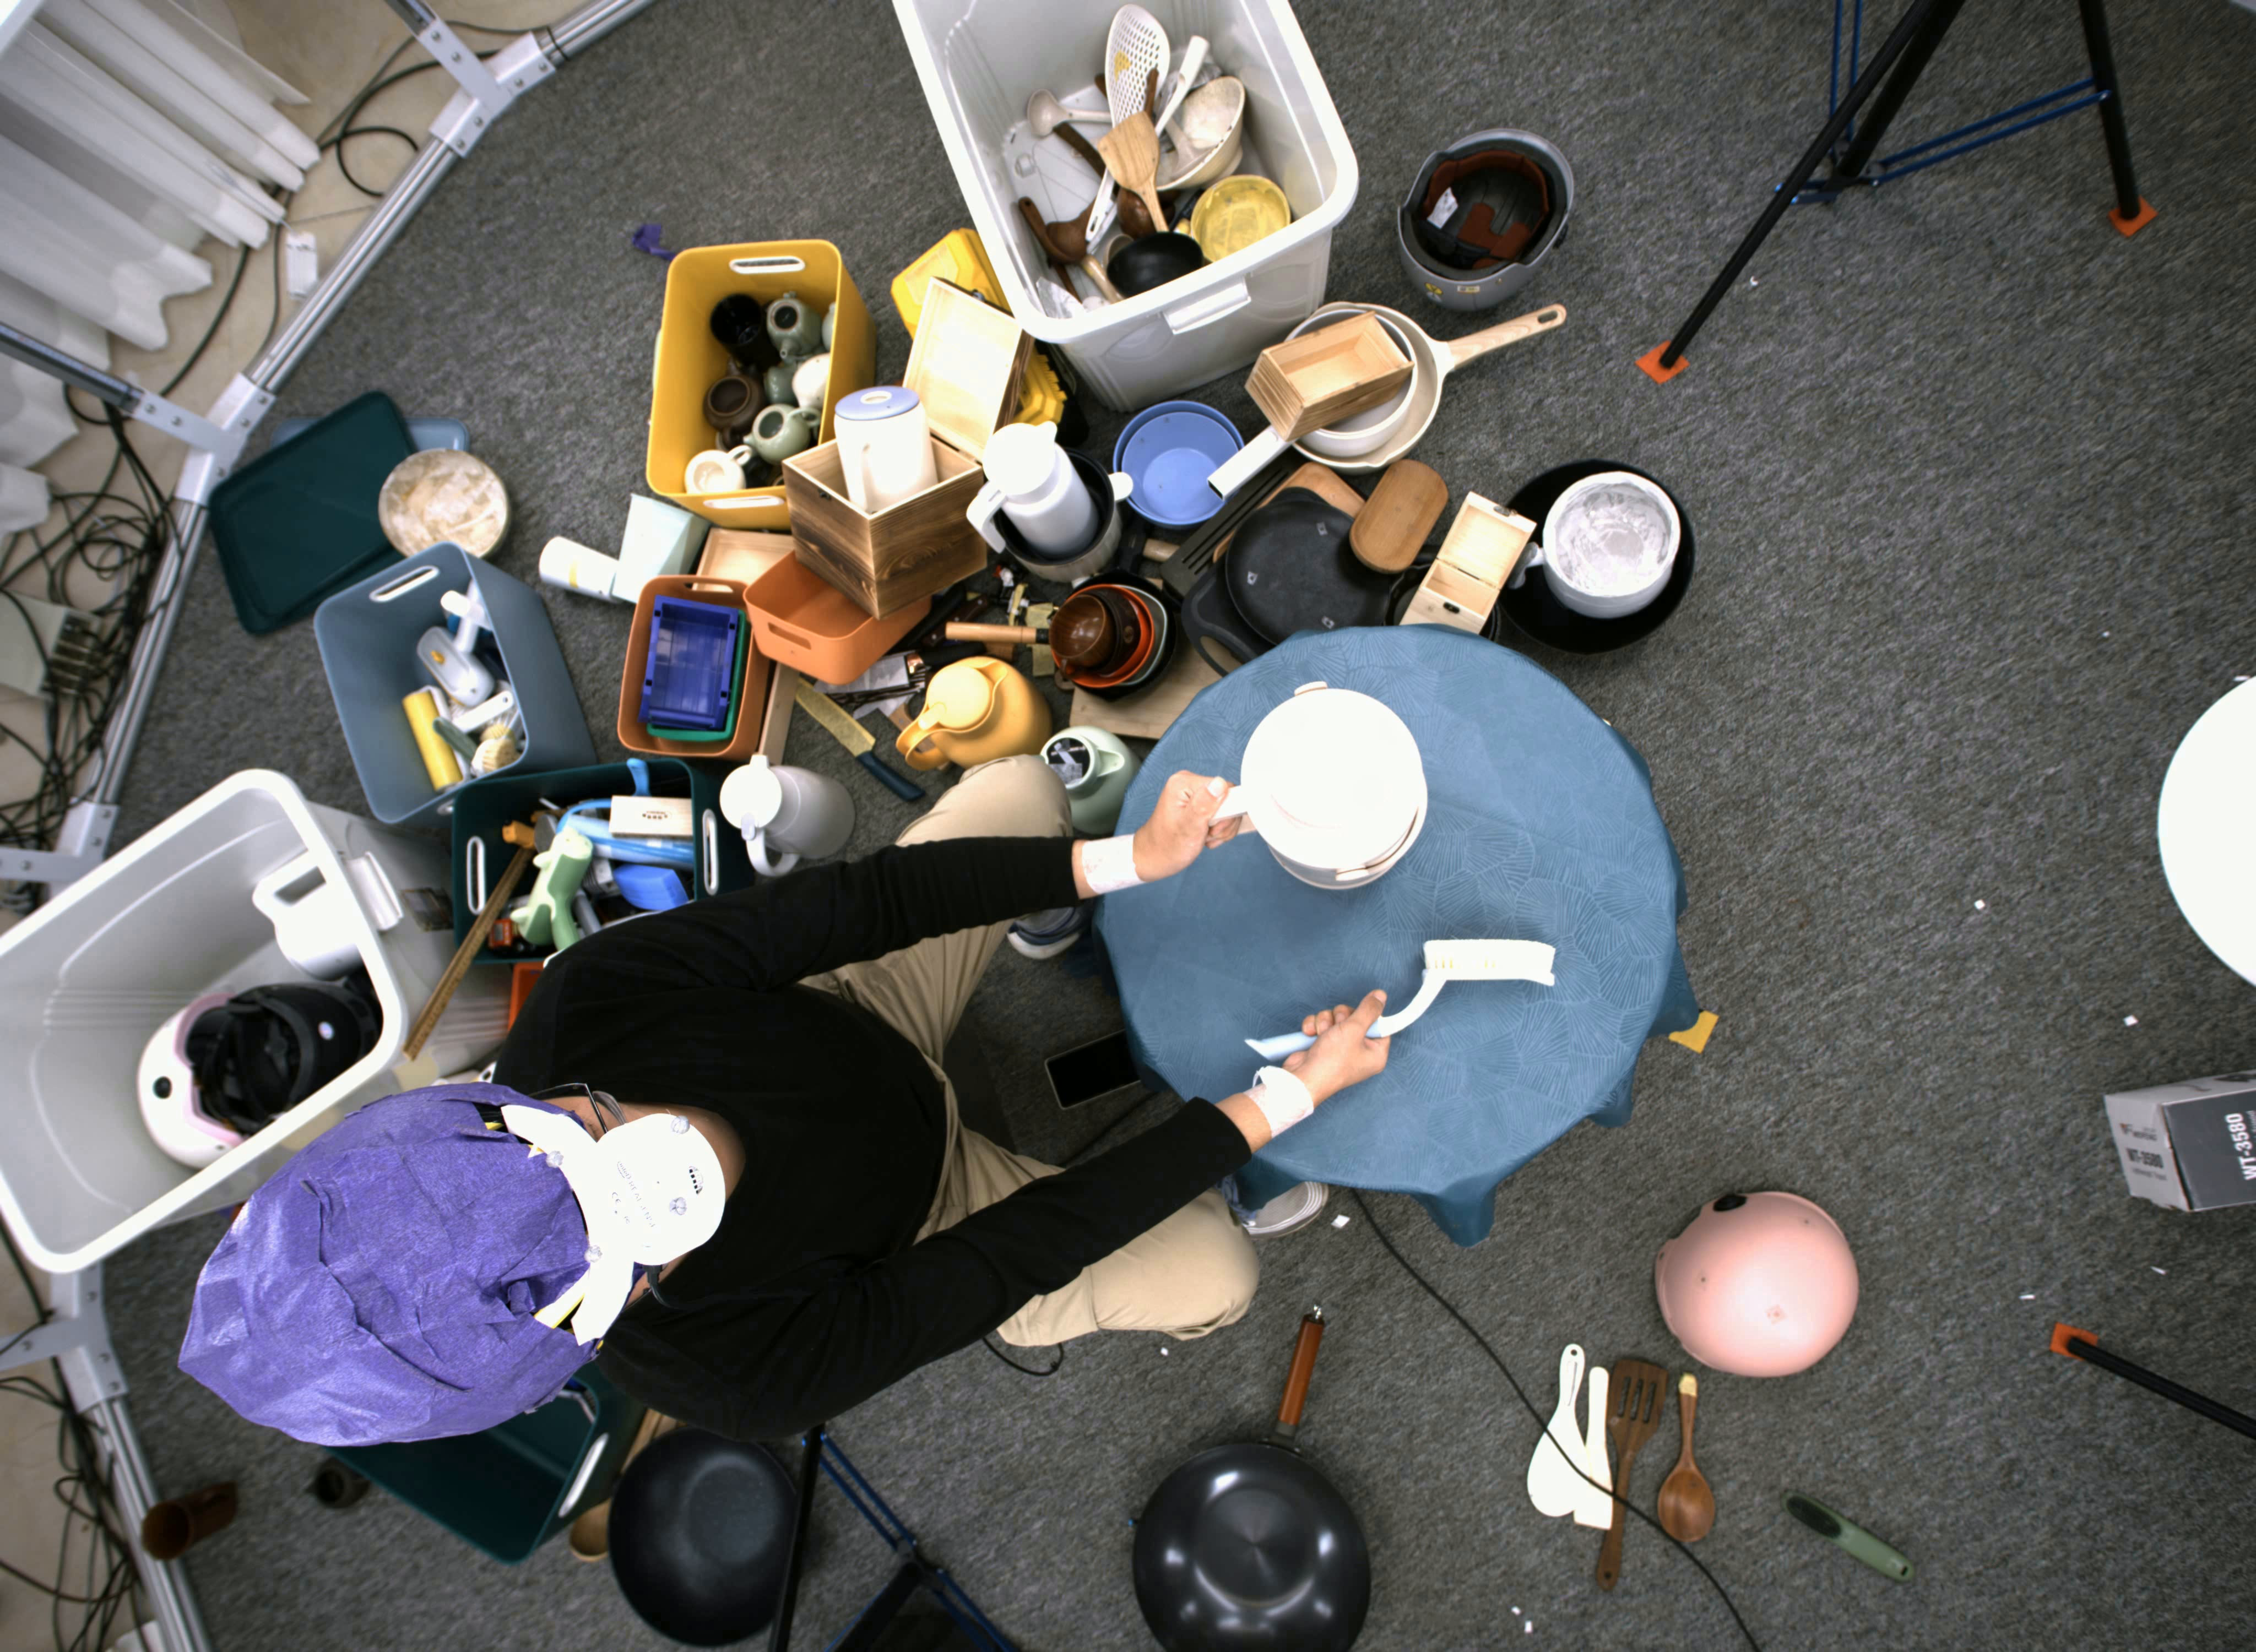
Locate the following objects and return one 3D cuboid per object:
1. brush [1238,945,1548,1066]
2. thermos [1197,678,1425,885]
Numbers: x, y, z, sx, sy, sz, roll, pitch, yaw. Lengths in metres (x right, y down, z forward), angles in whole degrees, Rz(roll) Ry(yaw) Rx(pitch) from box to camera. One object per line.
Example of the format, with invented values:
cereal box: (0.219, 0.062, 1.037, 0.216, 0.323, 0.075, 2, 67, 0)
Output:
brush: (0.263, 0.159, 1.396, 0.326, 0.085, 0.082, -13, 47, 3)
thermos: (0.175, -0.033, 1.282, 0.208, 0.406, 0.174, -13, 84, 8)
